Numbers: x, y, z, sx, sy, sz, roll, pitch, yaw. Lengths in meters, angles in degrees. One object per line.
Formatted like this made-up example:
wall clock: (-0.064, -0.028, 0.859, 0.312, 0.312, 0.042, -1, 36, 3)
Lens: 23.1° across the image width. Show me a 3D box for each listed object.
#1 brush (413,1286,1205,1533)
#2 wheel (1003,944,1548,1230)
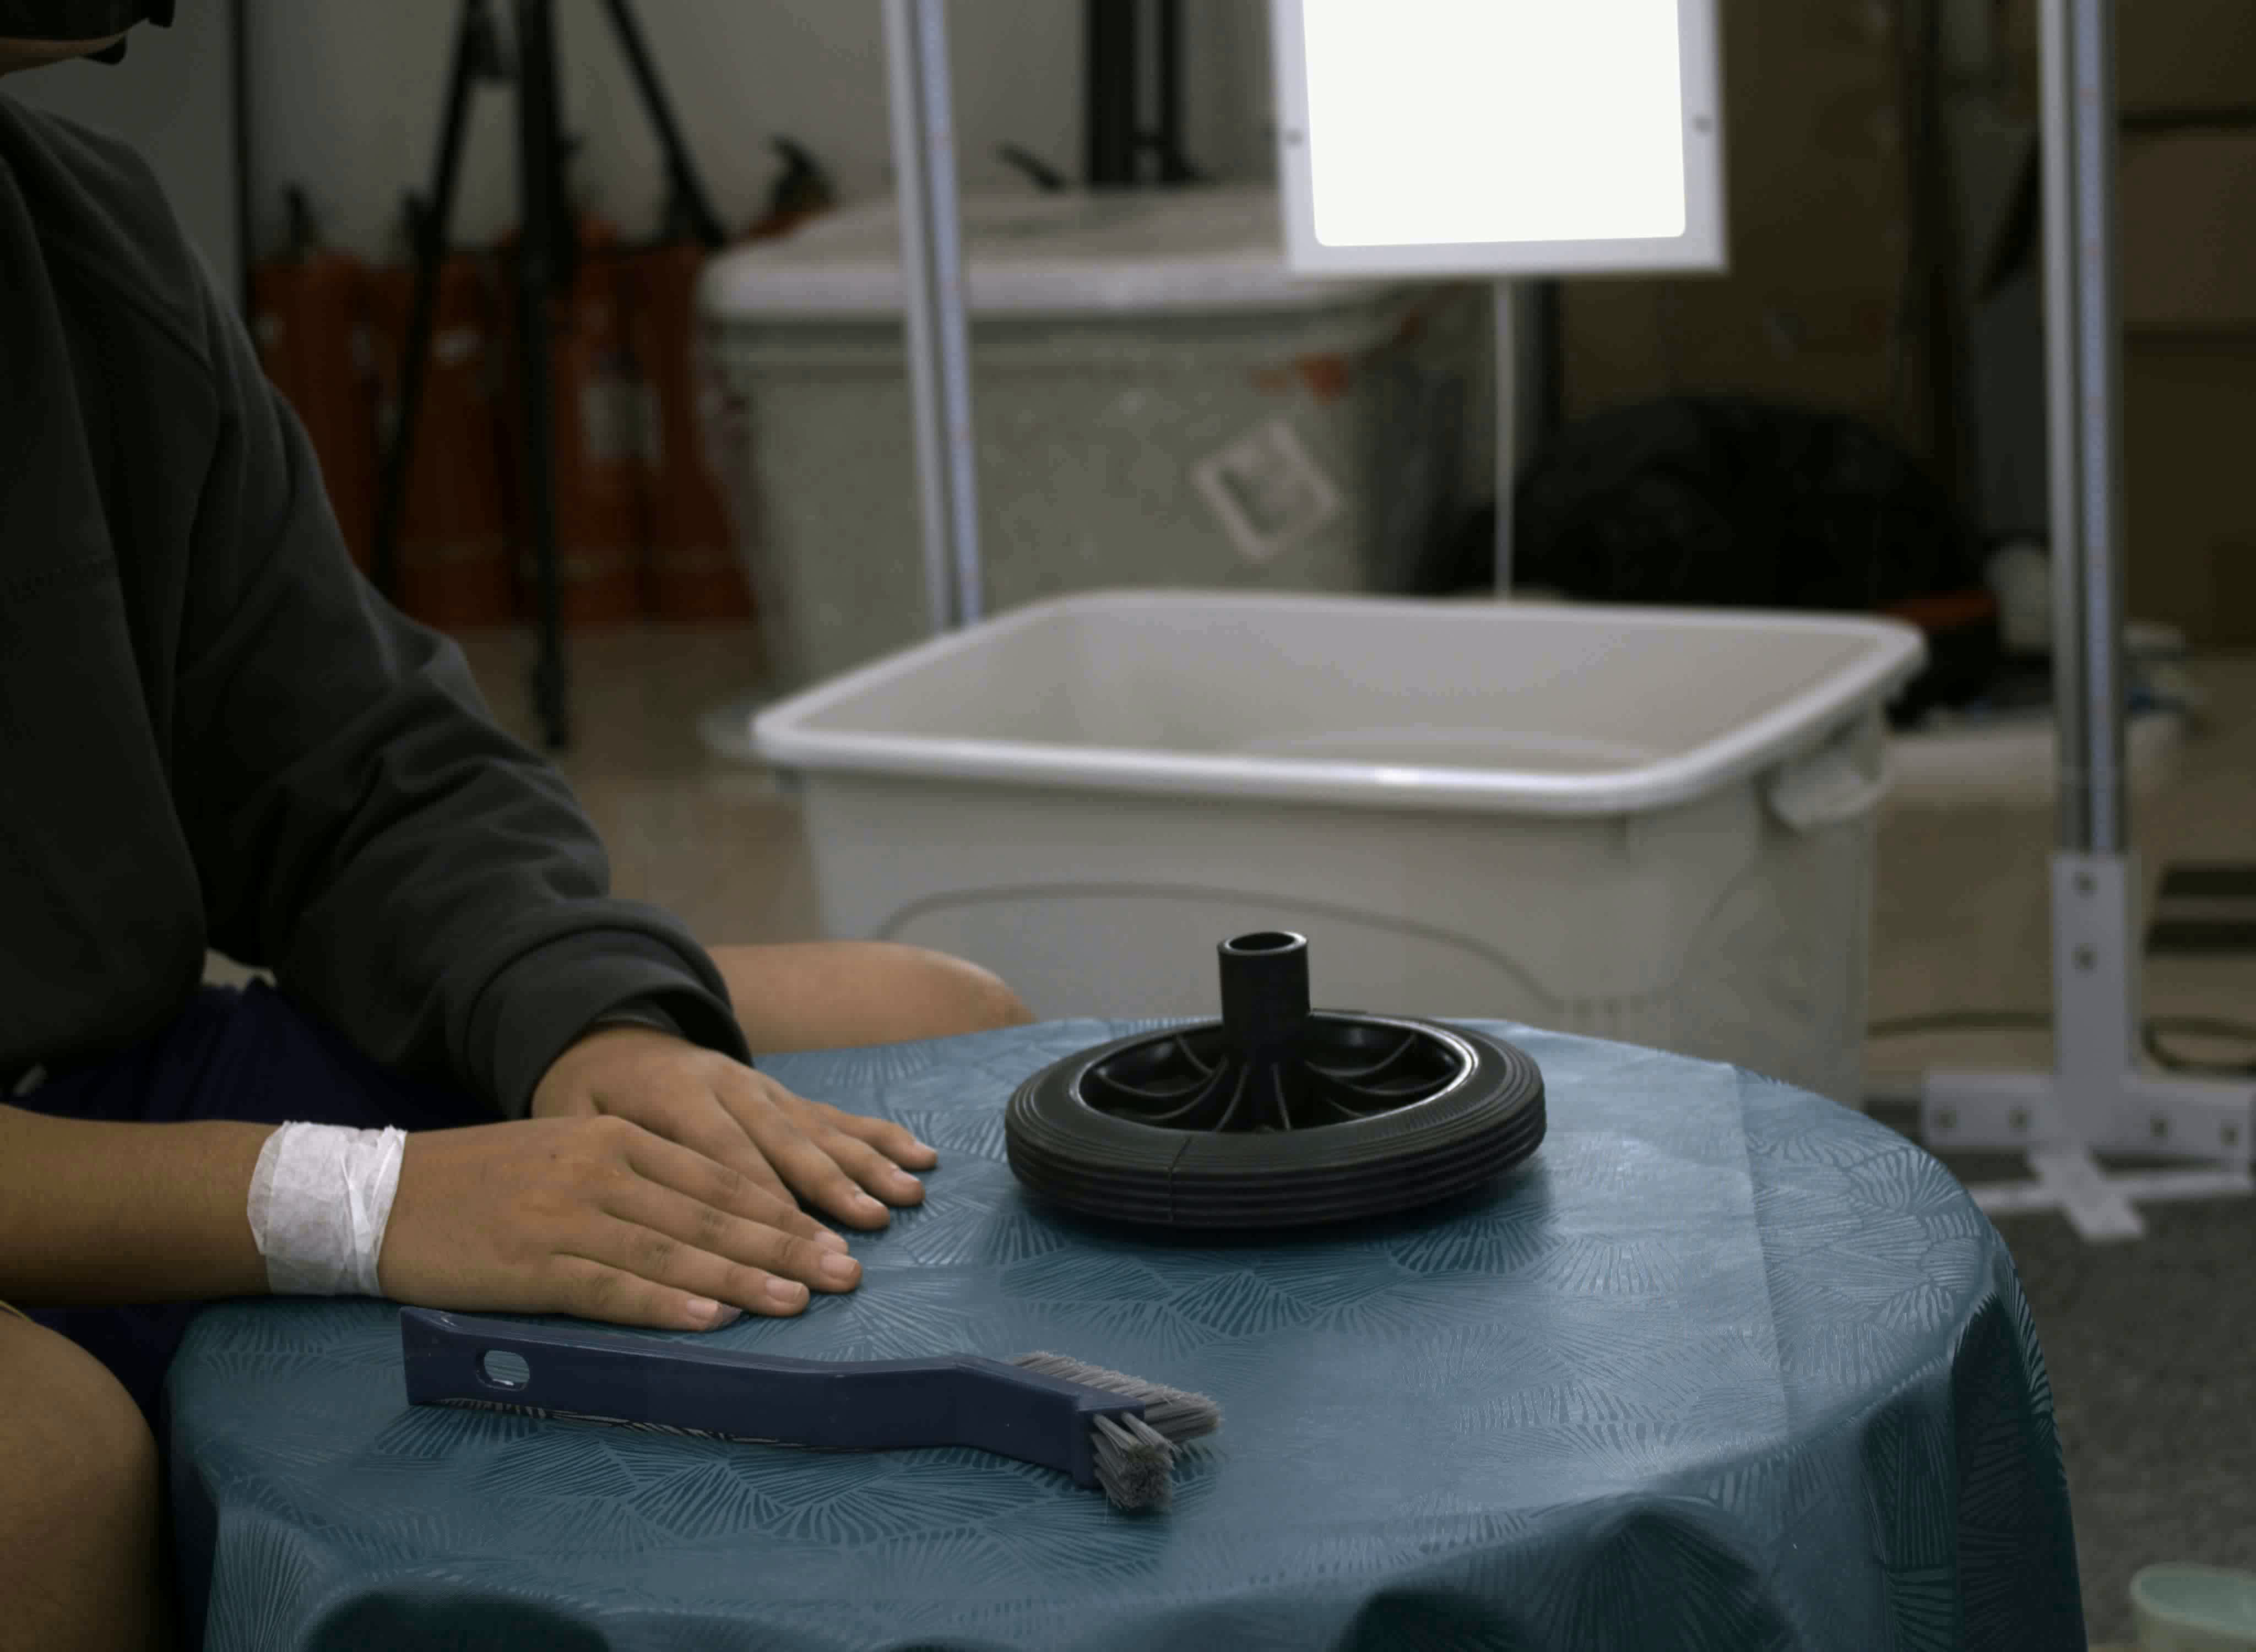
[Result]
brush: (-0.109, 0.174, 1.674, 0.277, 0.033, 0.094, 2, 16, 23)
wheel: (0.049, 0.082, 1.898, 0.183, 0.079, 0.193, -13, 16, -28)
